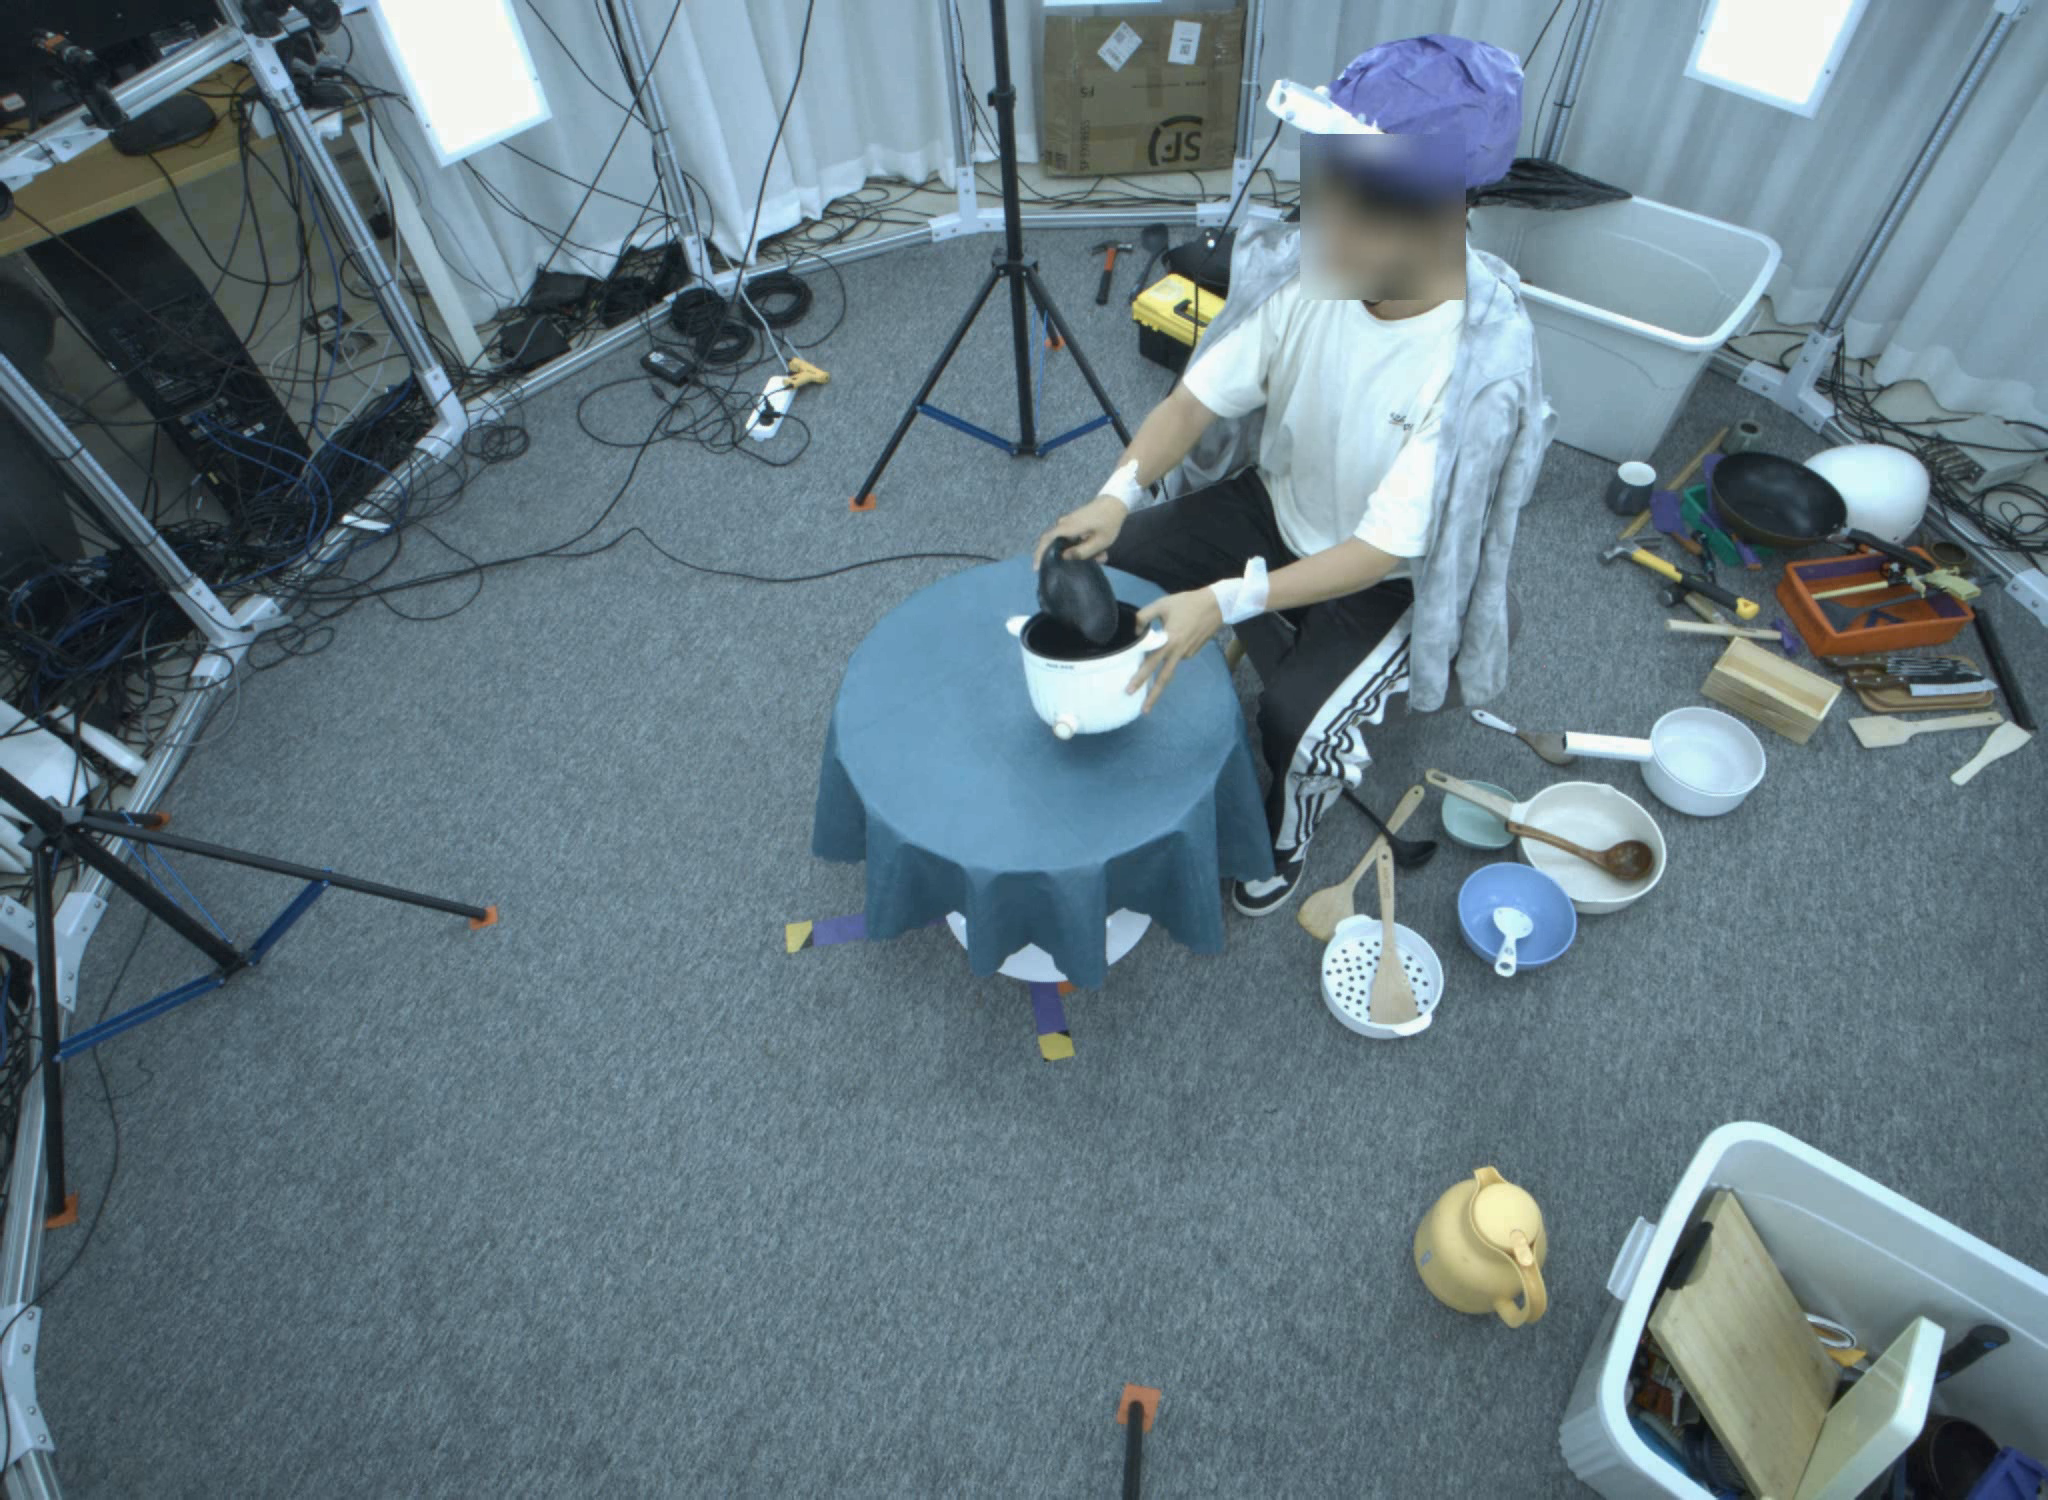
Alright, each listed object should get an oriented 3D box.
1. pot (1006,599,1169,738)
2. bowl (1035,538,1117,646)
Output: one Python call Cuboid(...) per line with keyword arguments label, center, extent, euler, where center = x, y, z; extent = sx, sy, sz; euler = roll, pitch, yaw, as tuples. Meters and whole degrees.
Cuboid(label="pot", center=(0.090, -0.111, 1.725), extent=(0.236, 0.144, 0.191), euler=(8, 33, 24))
Cuboid(label="bowl", center=(0.059, -0.213, 1.701), extent=(0.066, 0.140, 0.168), euler=(-24, 67, 32))
